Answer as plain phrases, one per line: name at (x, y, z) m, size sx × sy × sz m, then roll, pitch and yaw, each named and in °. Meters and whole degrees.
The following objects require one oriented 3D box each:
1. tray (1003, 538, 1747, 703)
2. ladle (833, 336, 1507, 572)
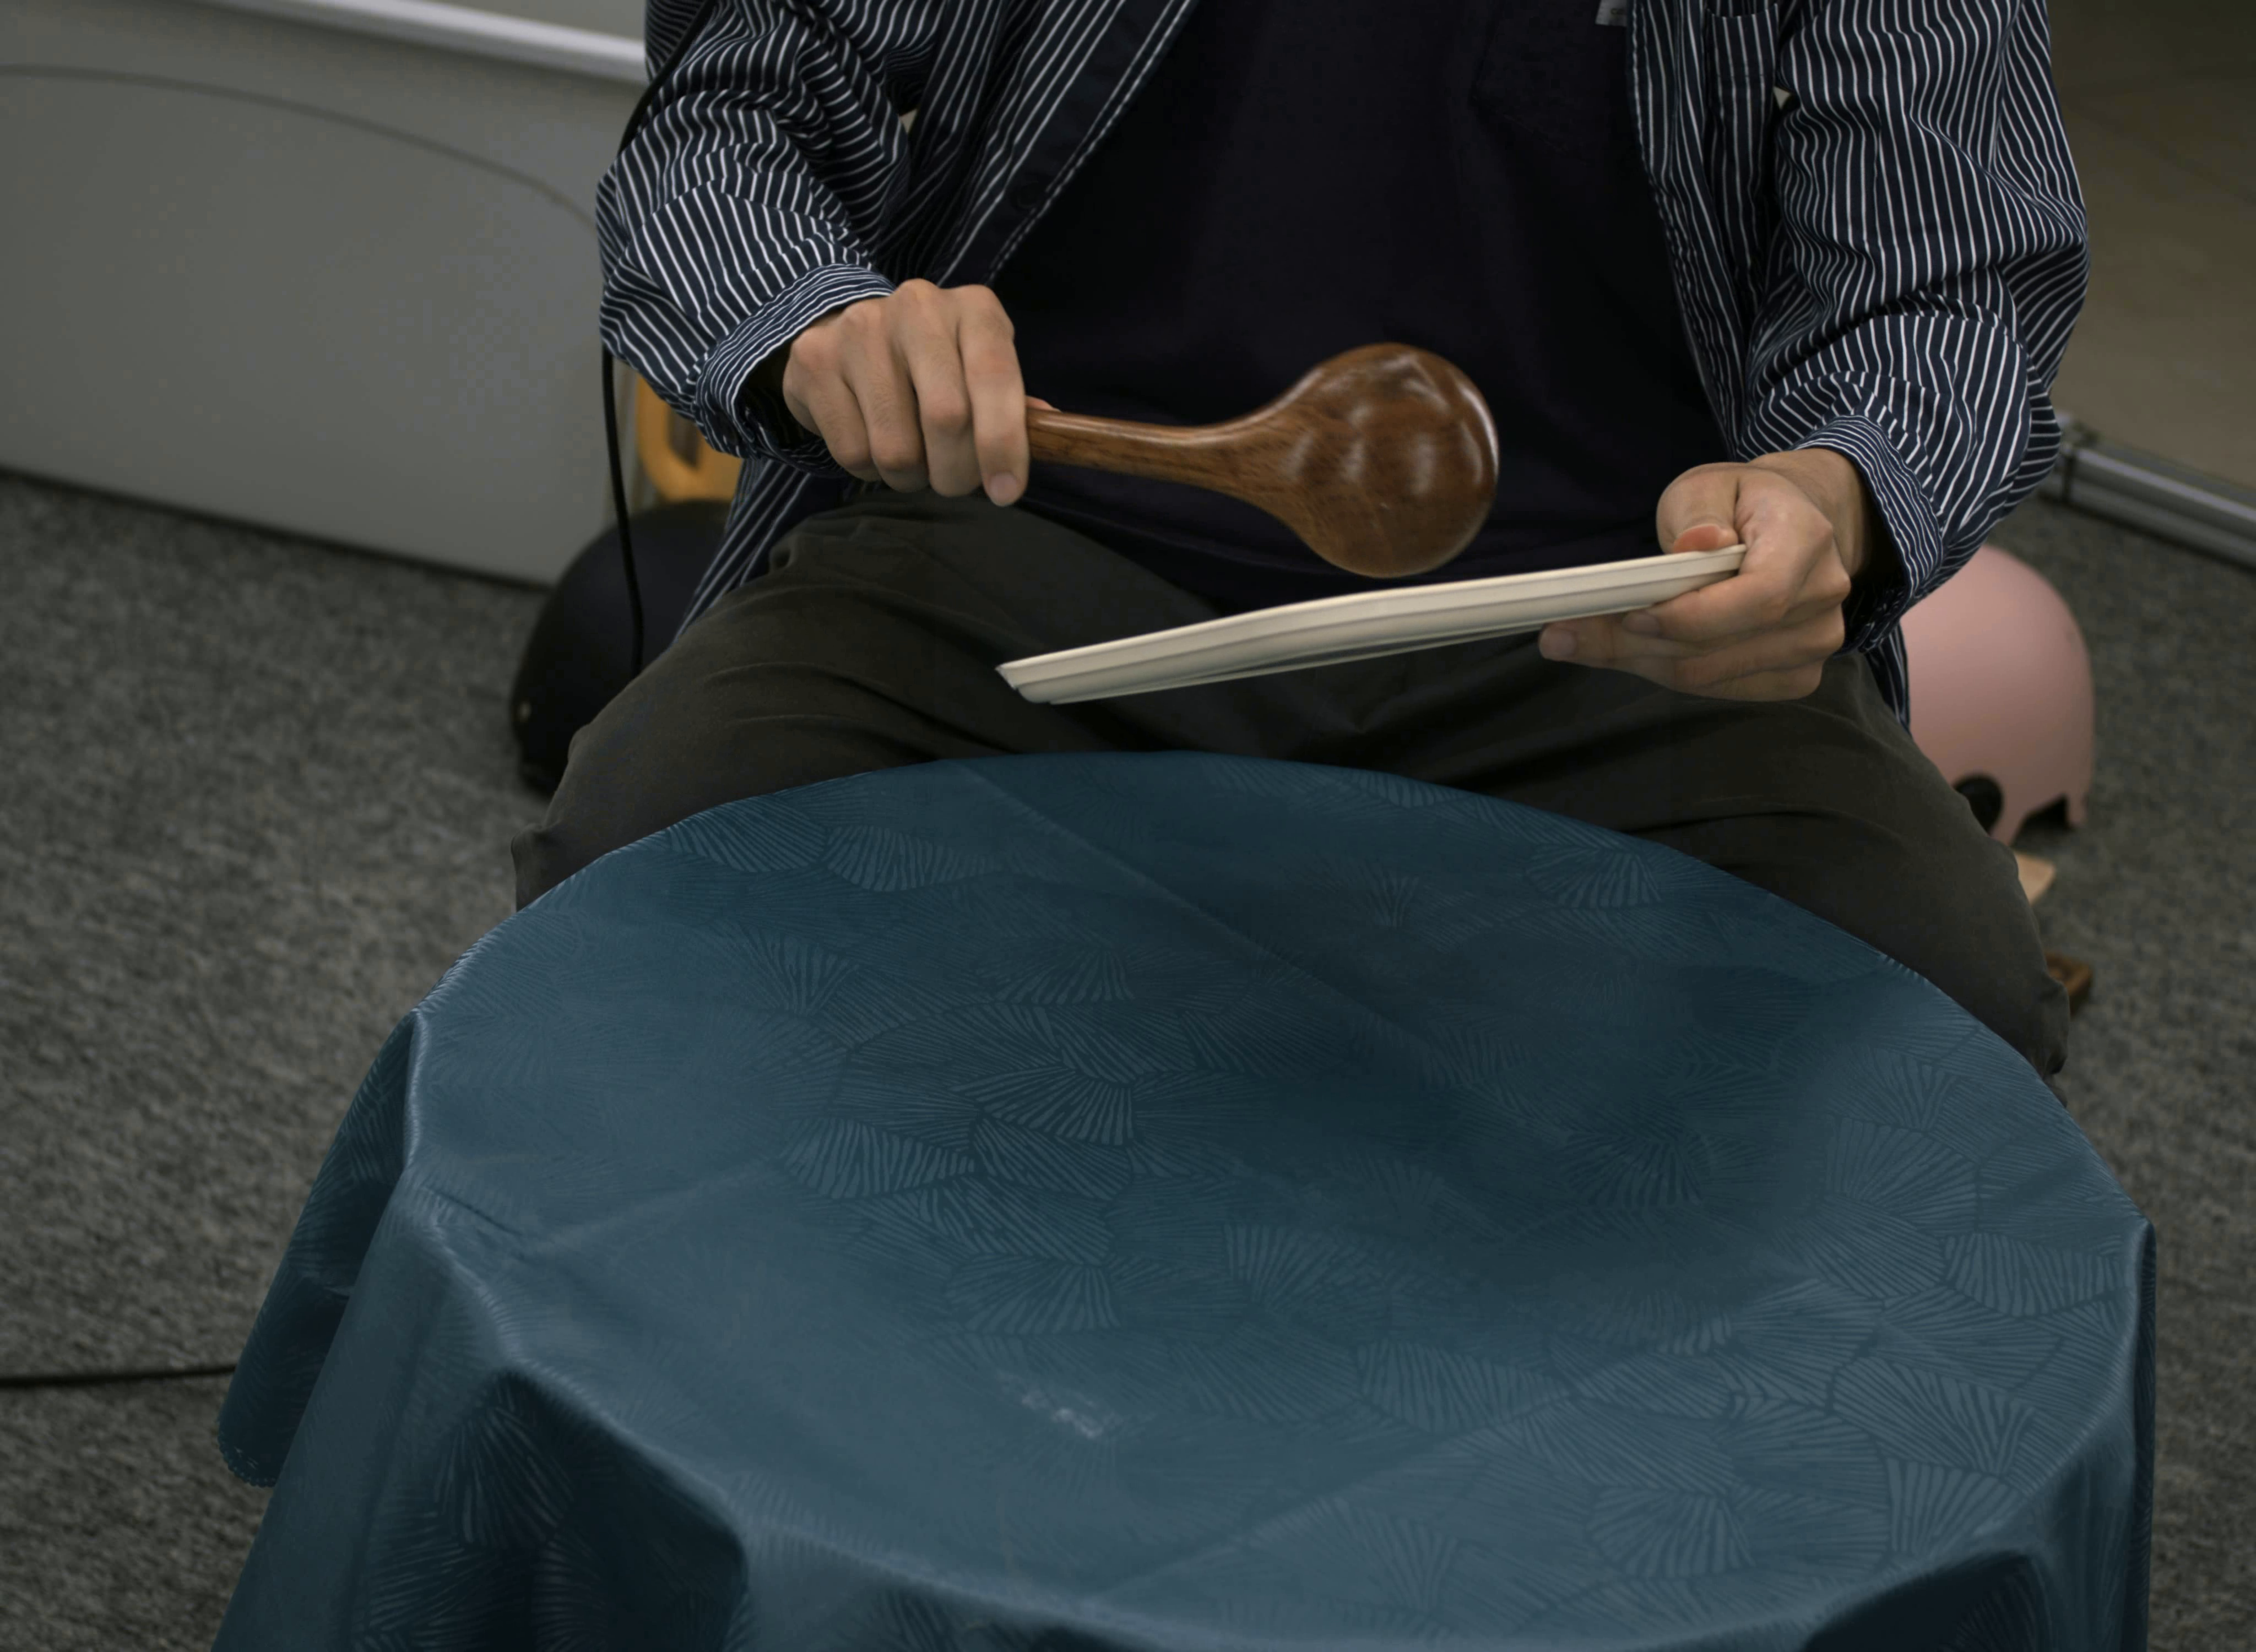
tray at (0.087, -0.069, 1.832) m, size 0.238 × 0.017 × 0.172 m, roll -9°, pitch -1°, yaw -43°
ladle at (0.014, -0.139, 1.912) m, size 0.275 × 0.082 × 0.076 m, roll 8°, pitch 7°, yaw 43°
